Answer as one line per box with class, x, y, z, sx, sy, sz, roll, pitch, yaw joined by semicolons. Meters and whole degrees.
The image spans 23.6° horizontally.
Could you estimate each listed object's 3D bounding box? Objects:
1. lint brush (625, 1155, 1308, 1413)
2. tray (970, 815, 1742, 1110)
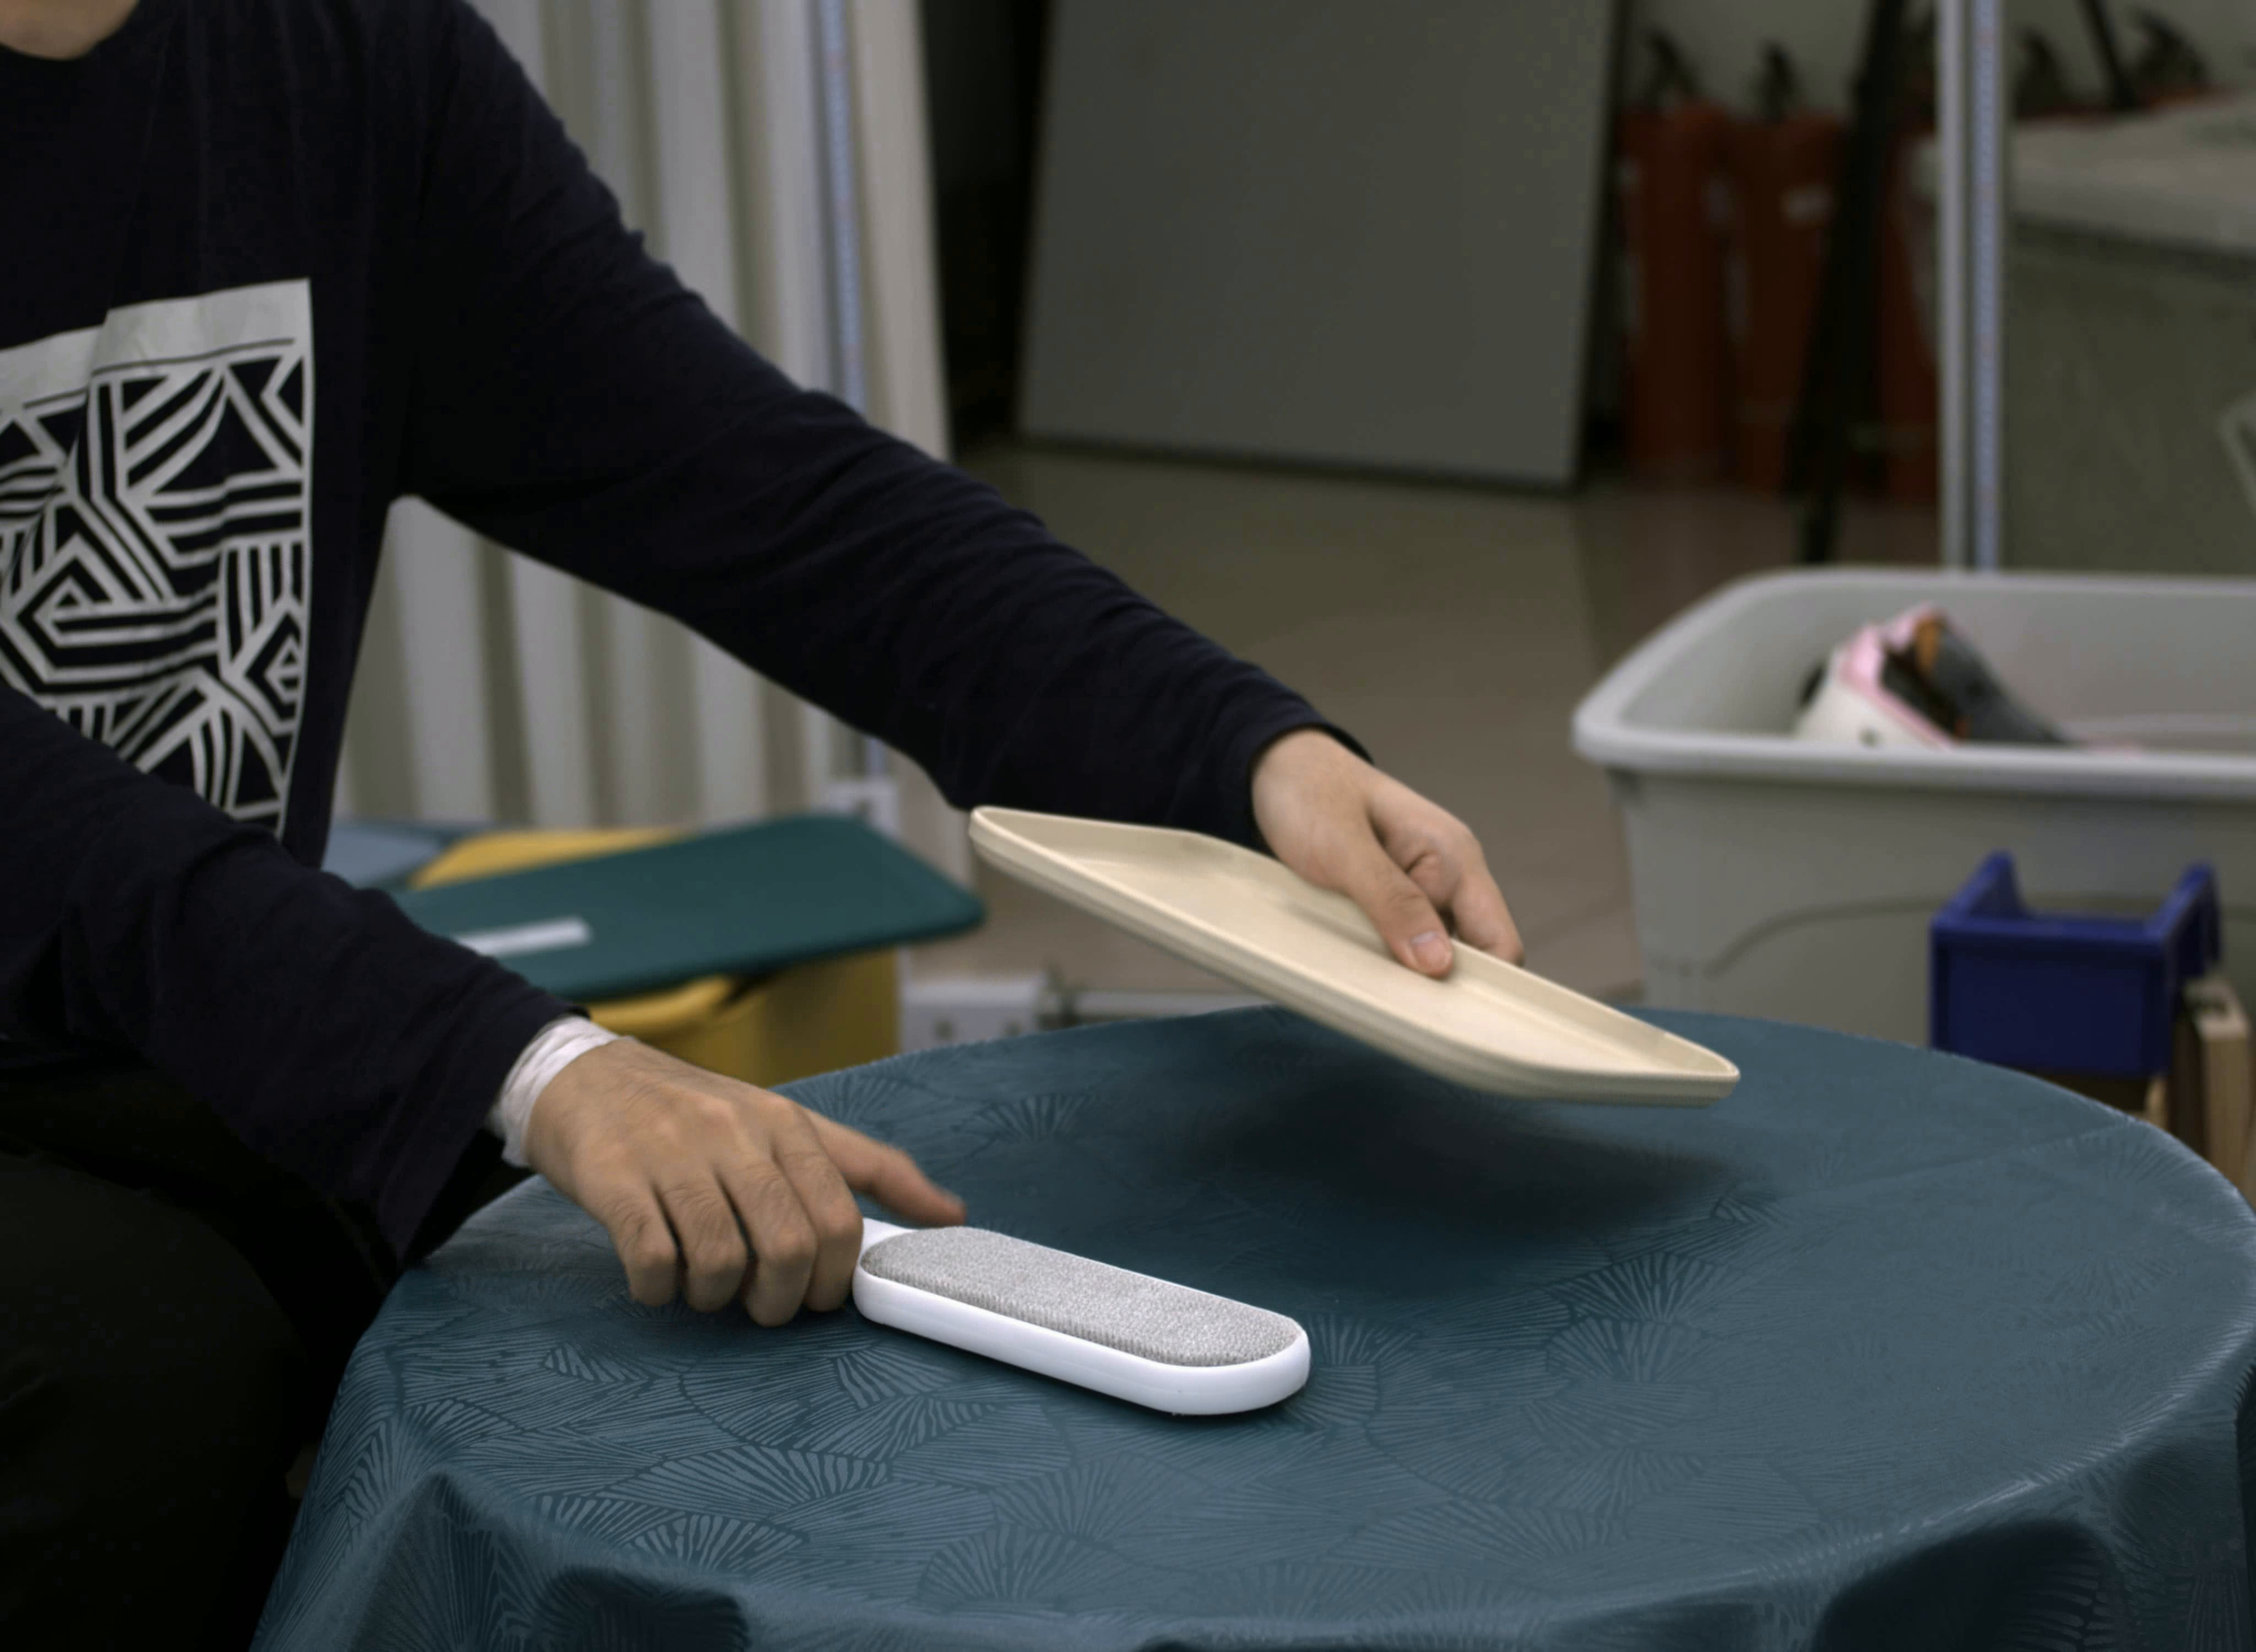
lint brush;-0.057;0.137;1.668;0.059;0.021;0.312;-22;22;-37
tray;0.073;0.046;1.761;0.241;0.018;0.168;24;11;35
